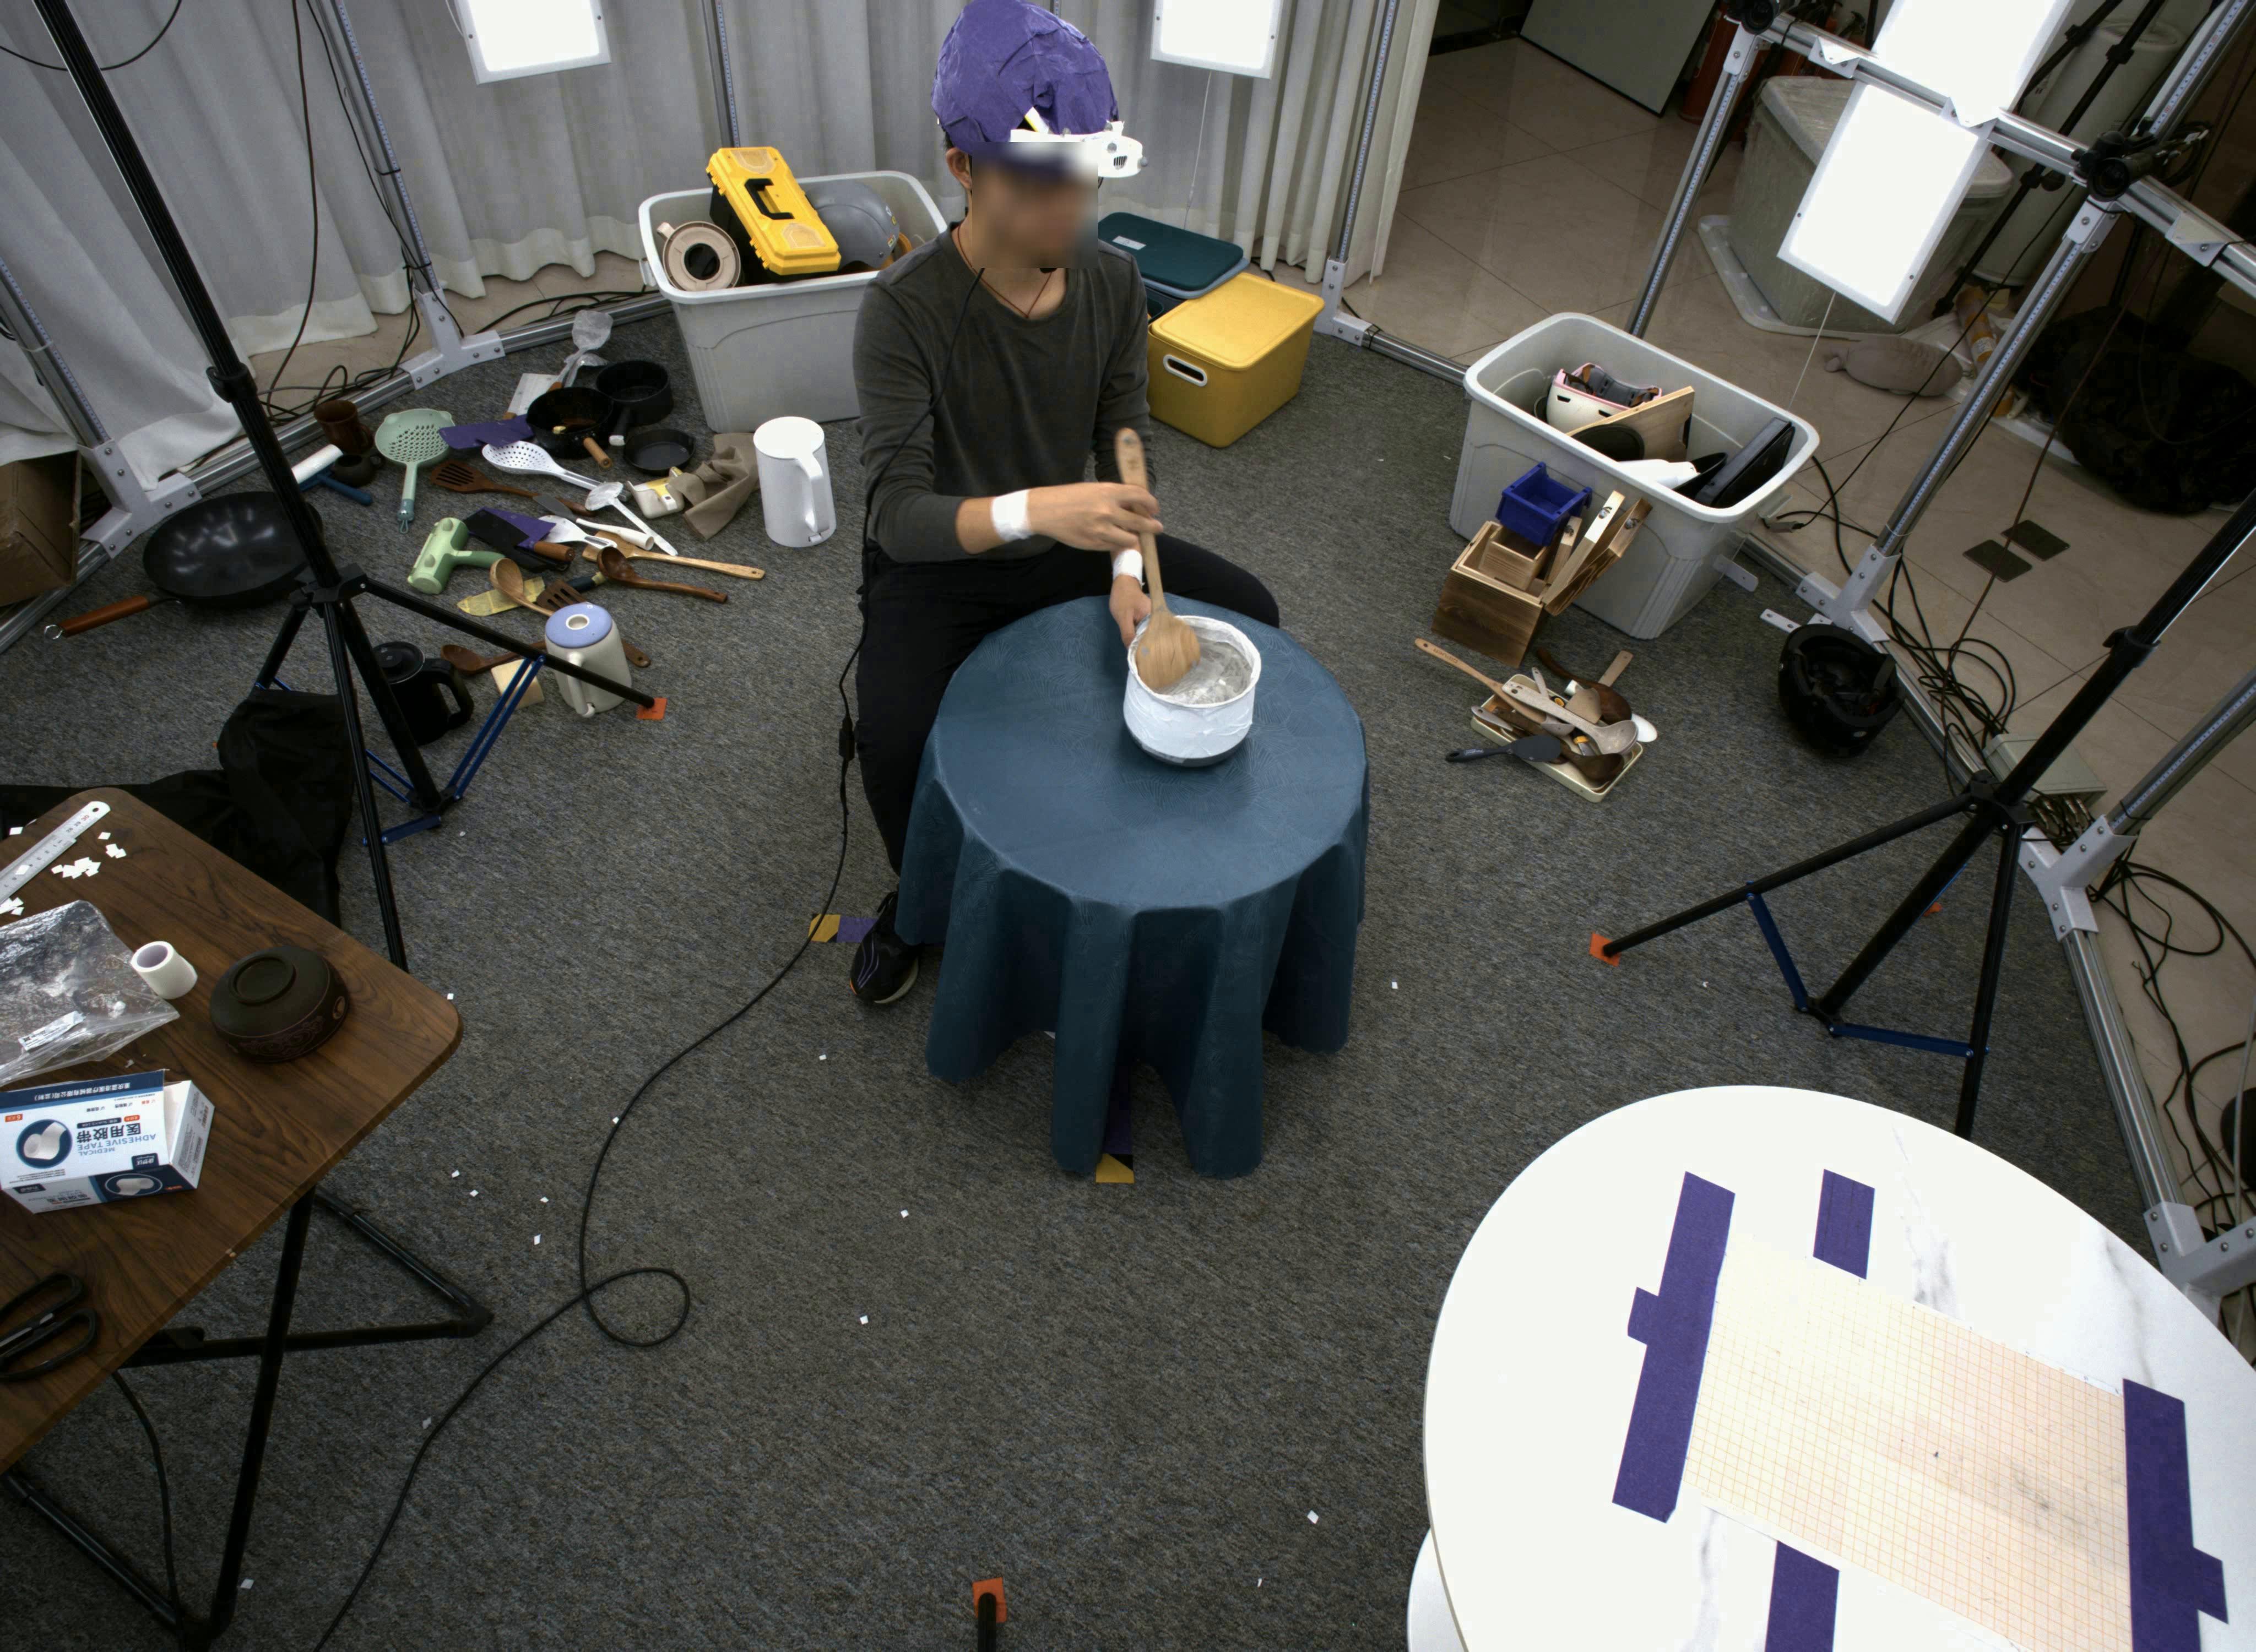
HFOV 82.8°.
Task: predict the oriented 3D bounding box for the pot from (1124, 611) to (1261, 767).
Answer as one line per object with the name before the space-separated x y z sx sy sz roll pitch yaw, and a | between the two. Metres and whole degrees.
pot | 0.070 -0.197 1.757 0.179 0.133 0.239 -21 53 -21

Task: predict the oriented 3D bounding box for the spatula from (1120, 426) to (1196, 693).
spatula | 0.026 -0.320 1.608 0.096 0.381 0.019 -26 47 -14
